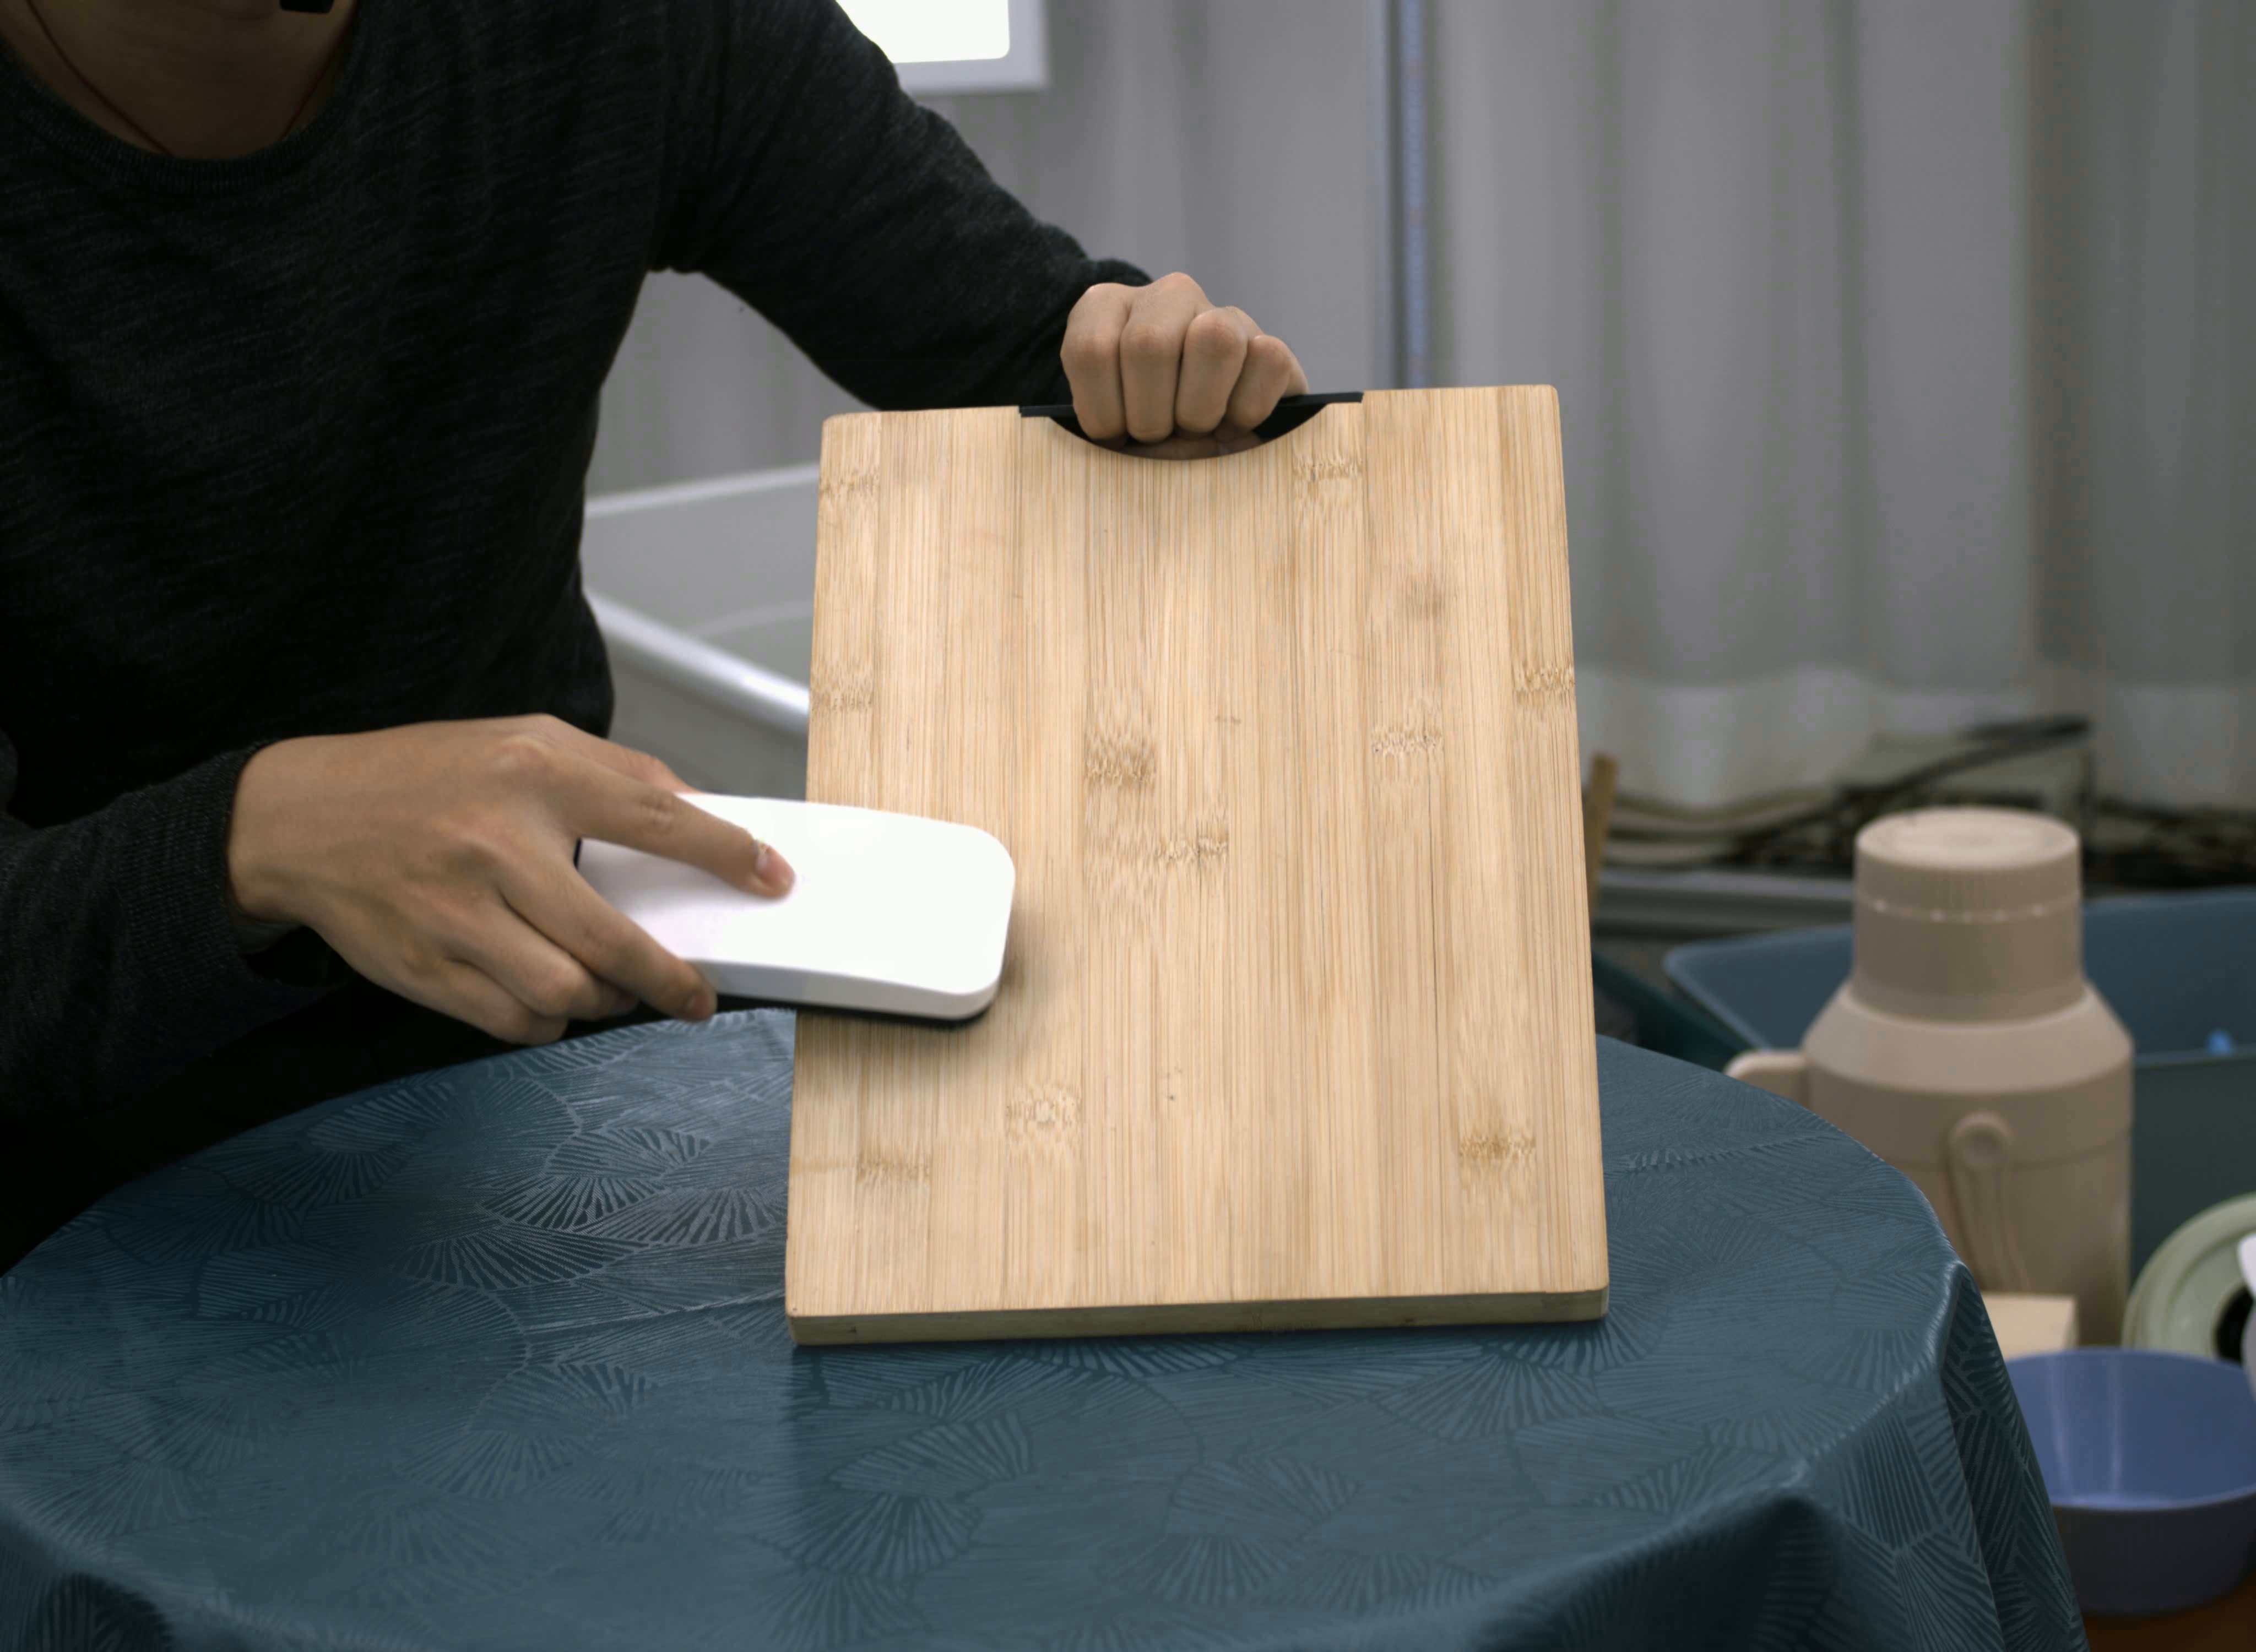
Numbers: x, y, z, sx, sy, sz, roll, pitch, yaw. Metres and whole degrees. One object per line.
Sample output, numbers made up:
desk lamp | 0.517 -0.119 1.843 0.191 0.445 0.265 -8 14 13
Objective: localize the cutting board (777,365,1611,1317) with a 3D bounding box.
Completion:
cutting board | 0.021 0.000 1.686 0.250 0.023 0.354 -3 53 3

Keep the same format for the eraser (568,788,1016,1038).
eraser | -0.100 0.026 1.640 0.131 0.034 0.064 7 53 2
